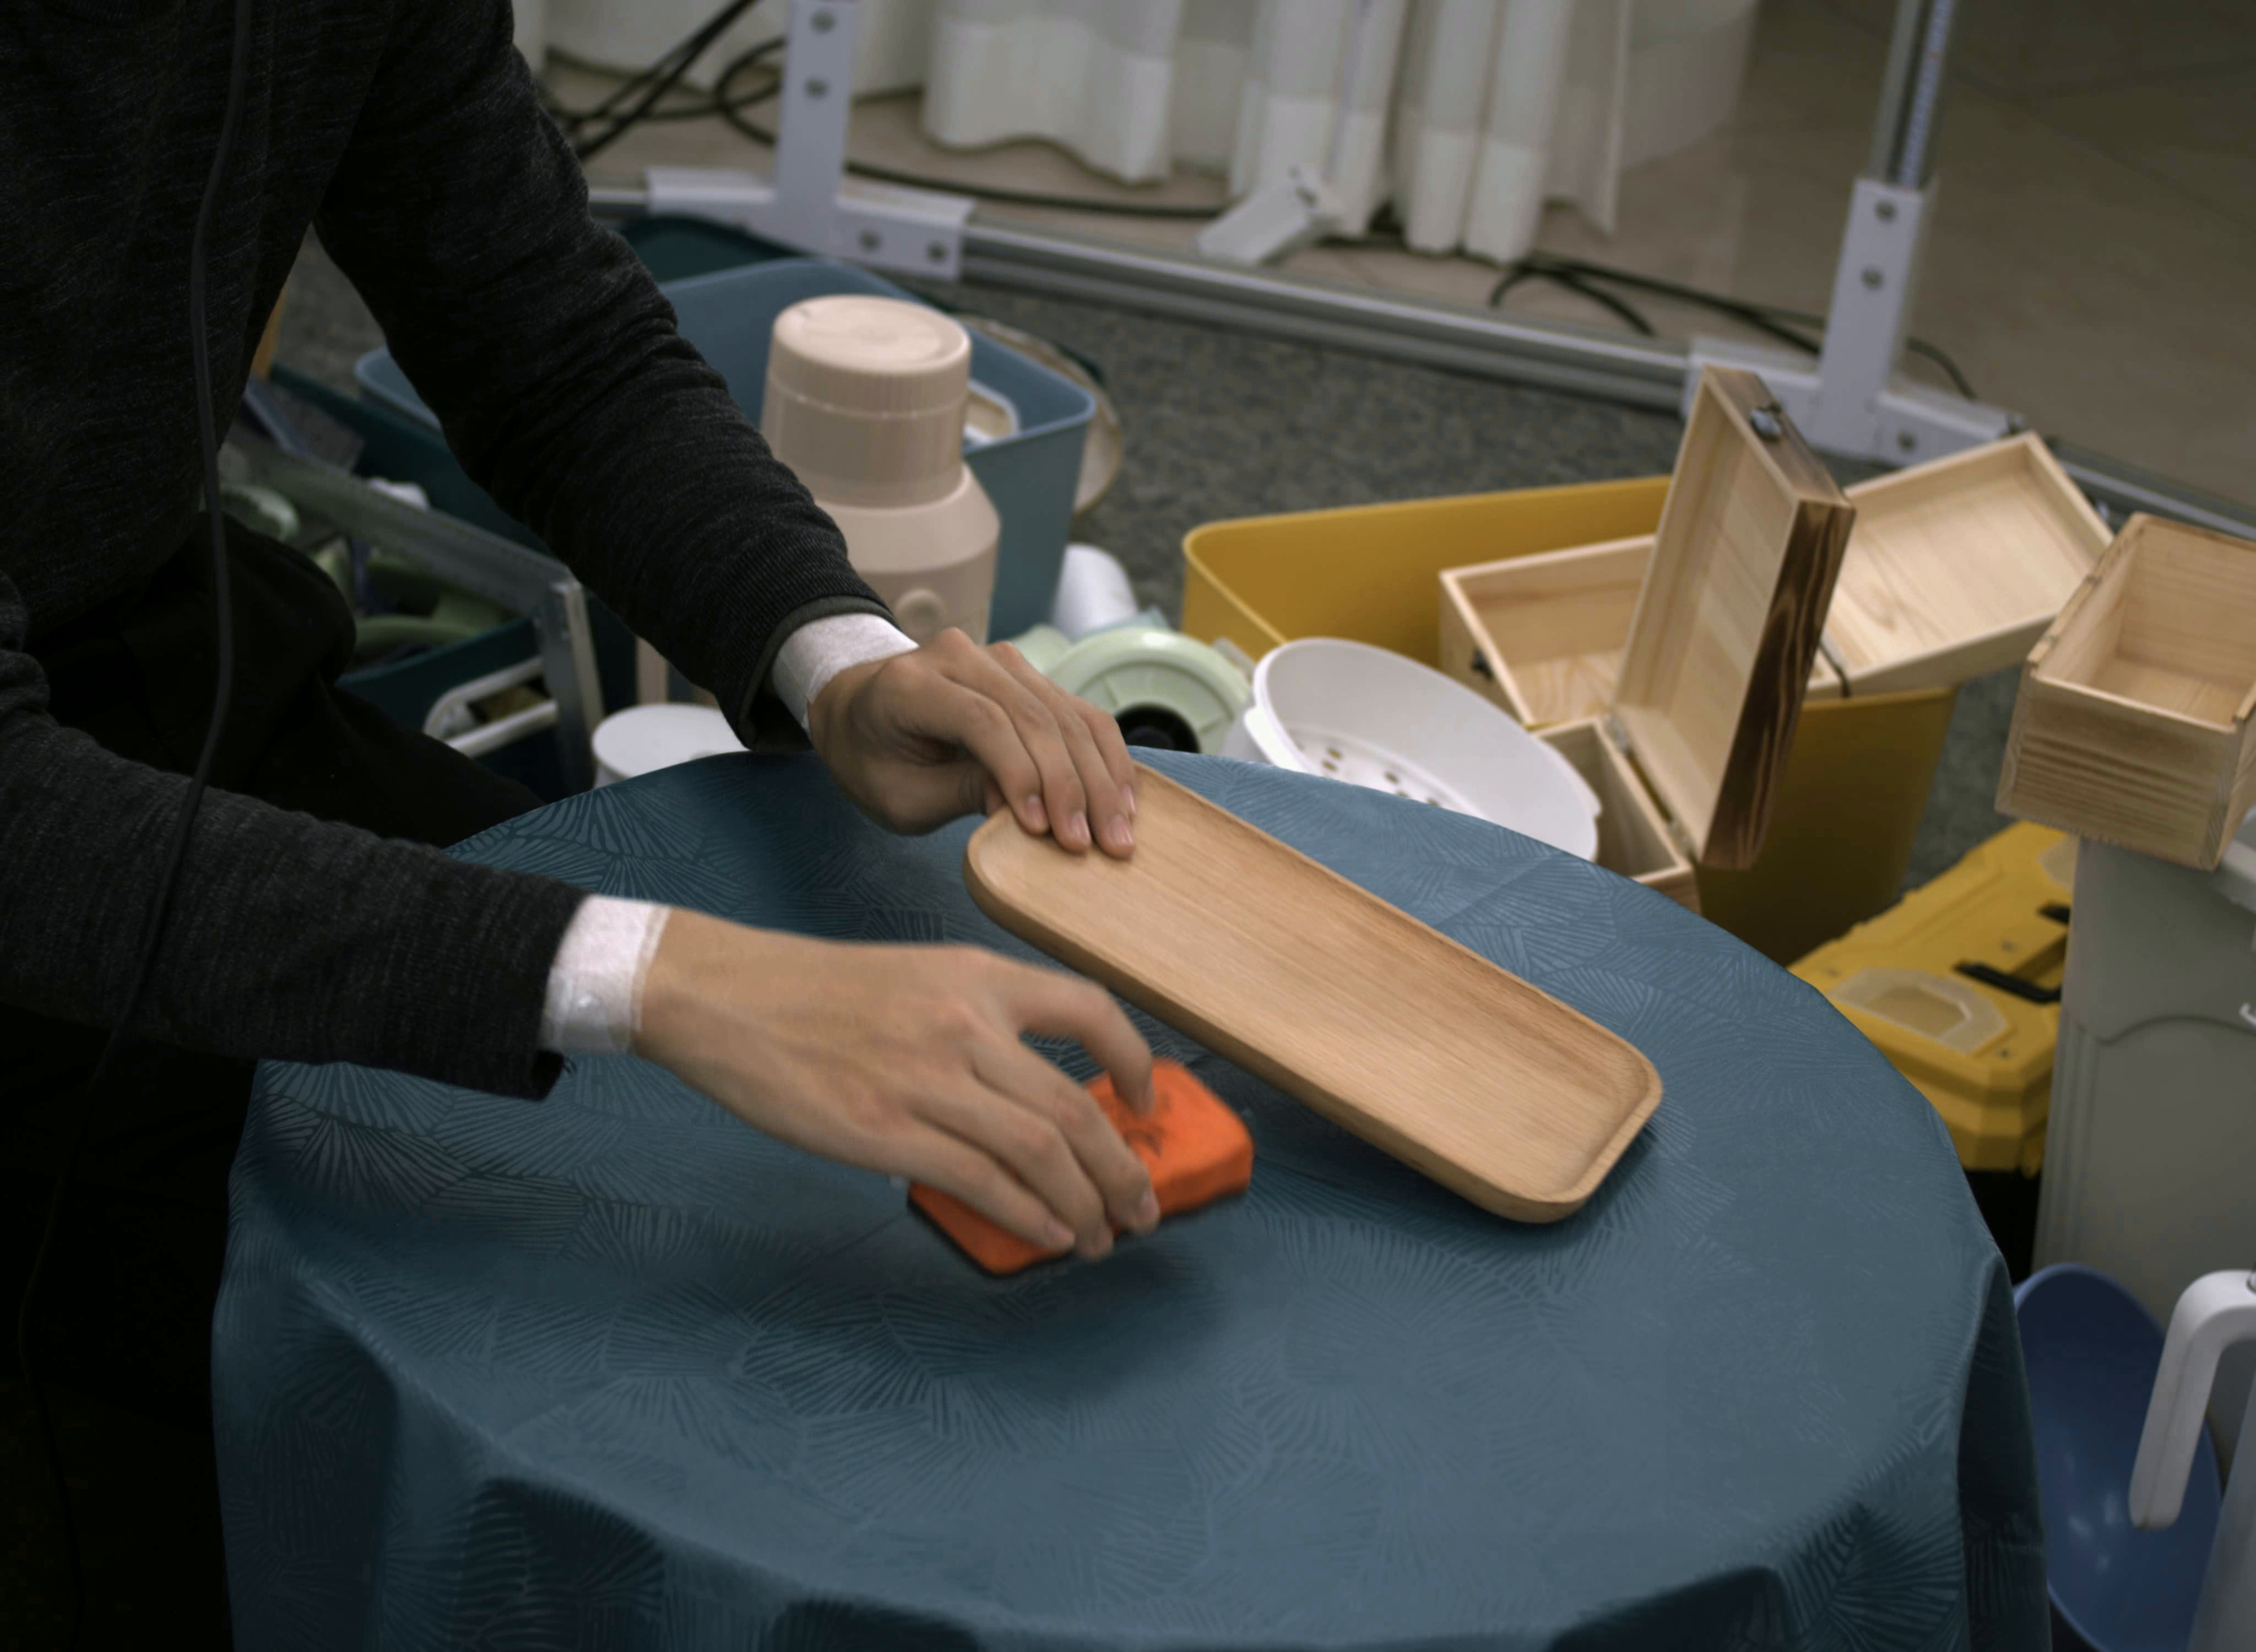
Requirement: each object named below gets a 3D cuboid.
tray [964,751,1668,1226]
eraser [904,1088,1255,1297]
[{"bbox_3d":[0.065,0.056,1.867,0.251,0.023,0.130,29,29,13],"label":"tray"},{"bbox_3d":[-0.016,0.118,1.730,0.107,0.023,0.059,-15,33,-29],"label":"eraser"}]
